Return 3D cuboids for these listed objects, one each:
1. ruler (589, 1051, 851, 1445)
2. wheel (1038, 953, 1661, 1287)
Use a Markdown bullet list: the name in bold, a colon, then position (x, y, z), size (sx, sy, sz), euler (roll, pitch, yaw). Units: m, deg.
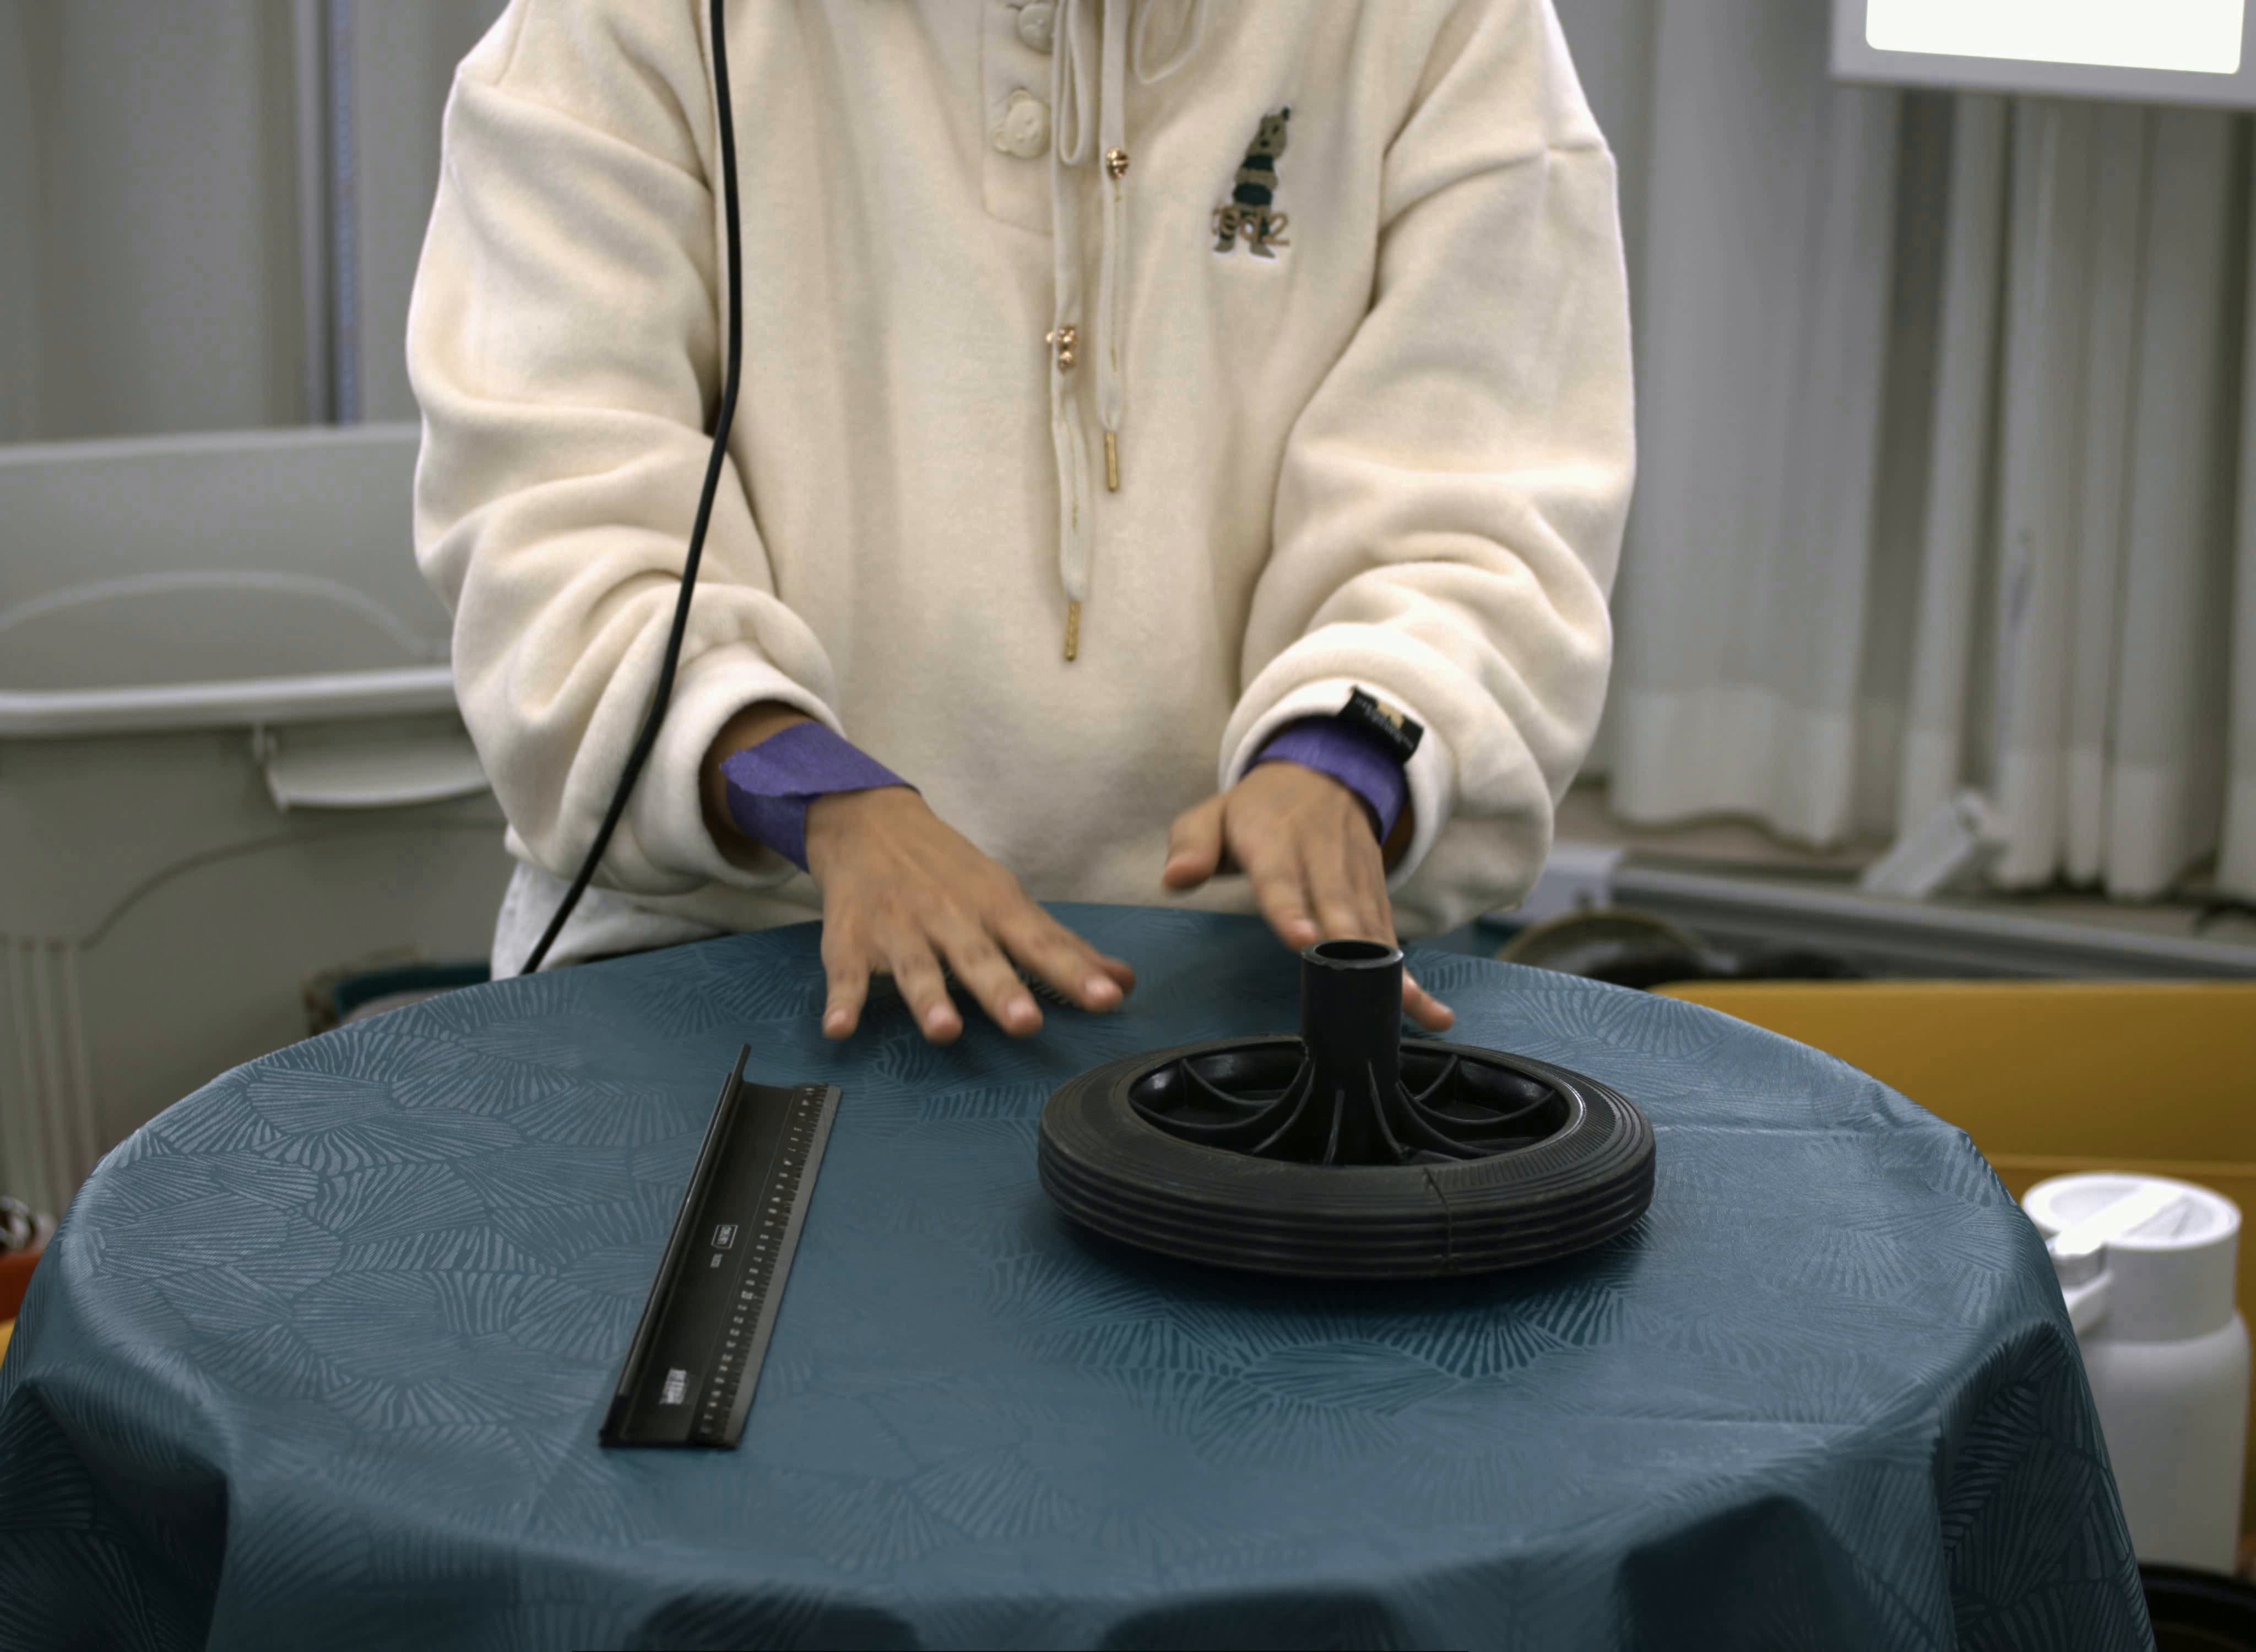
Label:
- **ruler**: position (-0.117, 0.120, 1.561), size (0.039, 0.017, 0.311), euler (5, 15, 2)
- **wheel**: position (0.068, 0.081, 1.595), size (0.188, 0.080, 0.187), euler (7, 15, 19)
